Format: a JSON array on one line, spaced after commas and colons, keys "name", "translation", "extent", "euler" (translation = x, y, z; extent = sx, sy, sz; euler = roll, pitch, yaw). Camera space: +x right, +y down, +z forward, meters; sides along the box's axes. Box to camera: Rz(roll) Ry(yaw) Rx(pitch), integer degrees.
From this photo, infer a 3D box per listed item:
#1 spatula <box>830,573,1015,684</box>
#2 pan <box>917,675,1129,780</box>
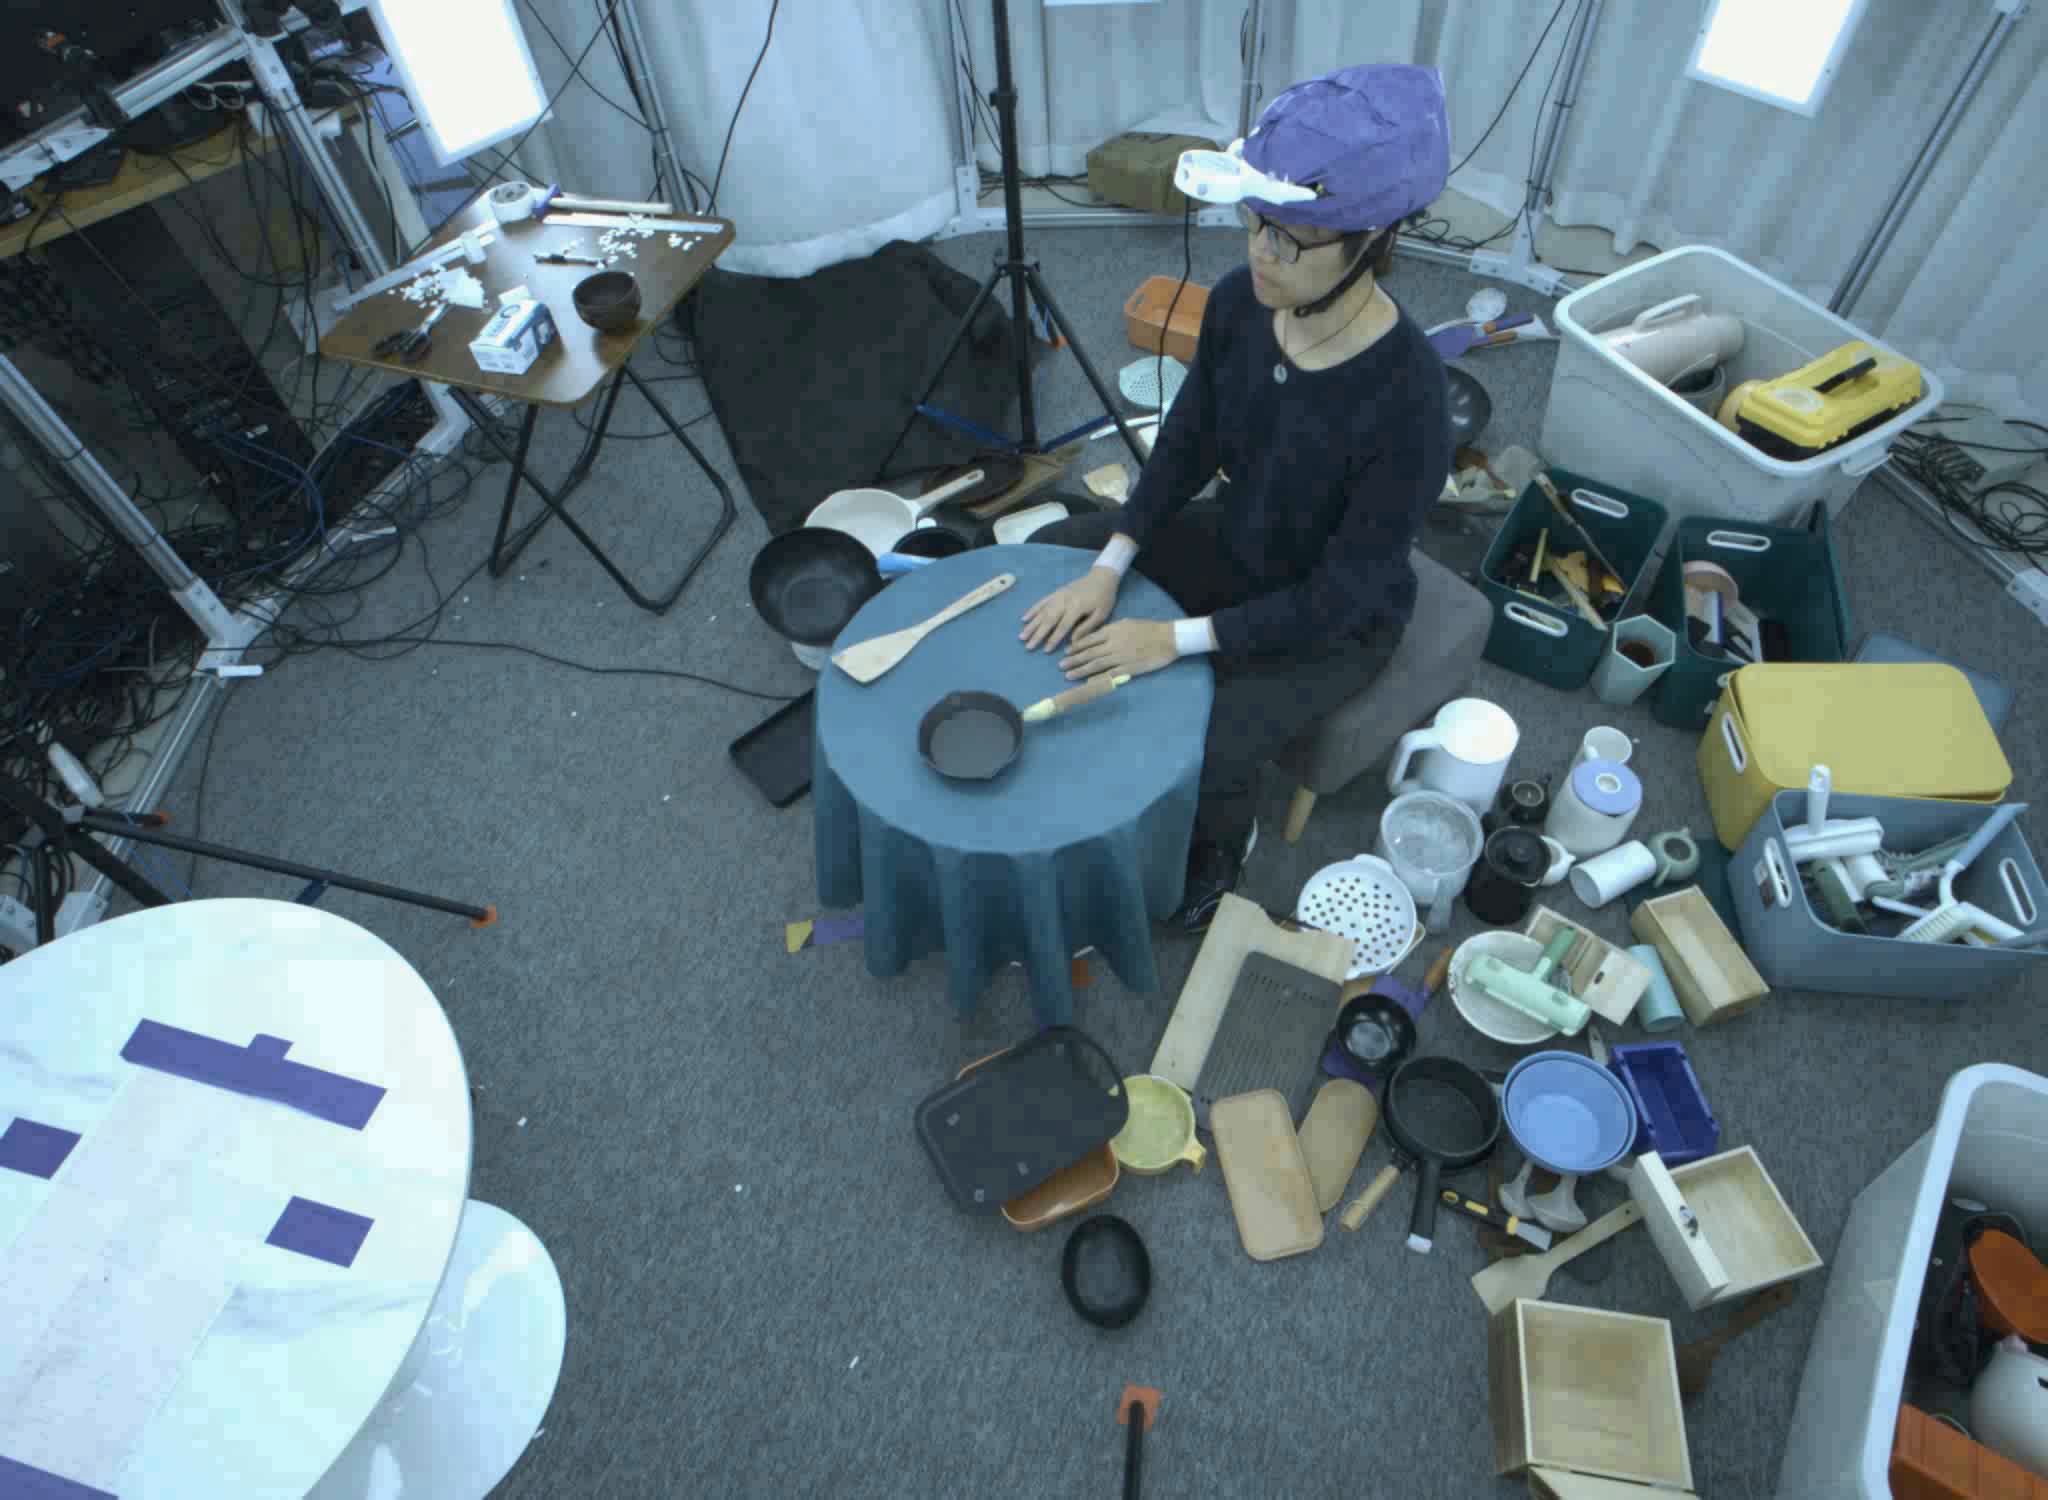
[{"name": "spatula", "translation": [-0.148, -0.199, 1.923], "extent": [0.330, 0.017, 0.078], "euler": [-33, 61, -19]}, {"name": "pan", "translation": [0.003, -0.047, 1.789], "extent": [0.326, 0.050, 0.166], "euler": [-18, 56, -9]}]
